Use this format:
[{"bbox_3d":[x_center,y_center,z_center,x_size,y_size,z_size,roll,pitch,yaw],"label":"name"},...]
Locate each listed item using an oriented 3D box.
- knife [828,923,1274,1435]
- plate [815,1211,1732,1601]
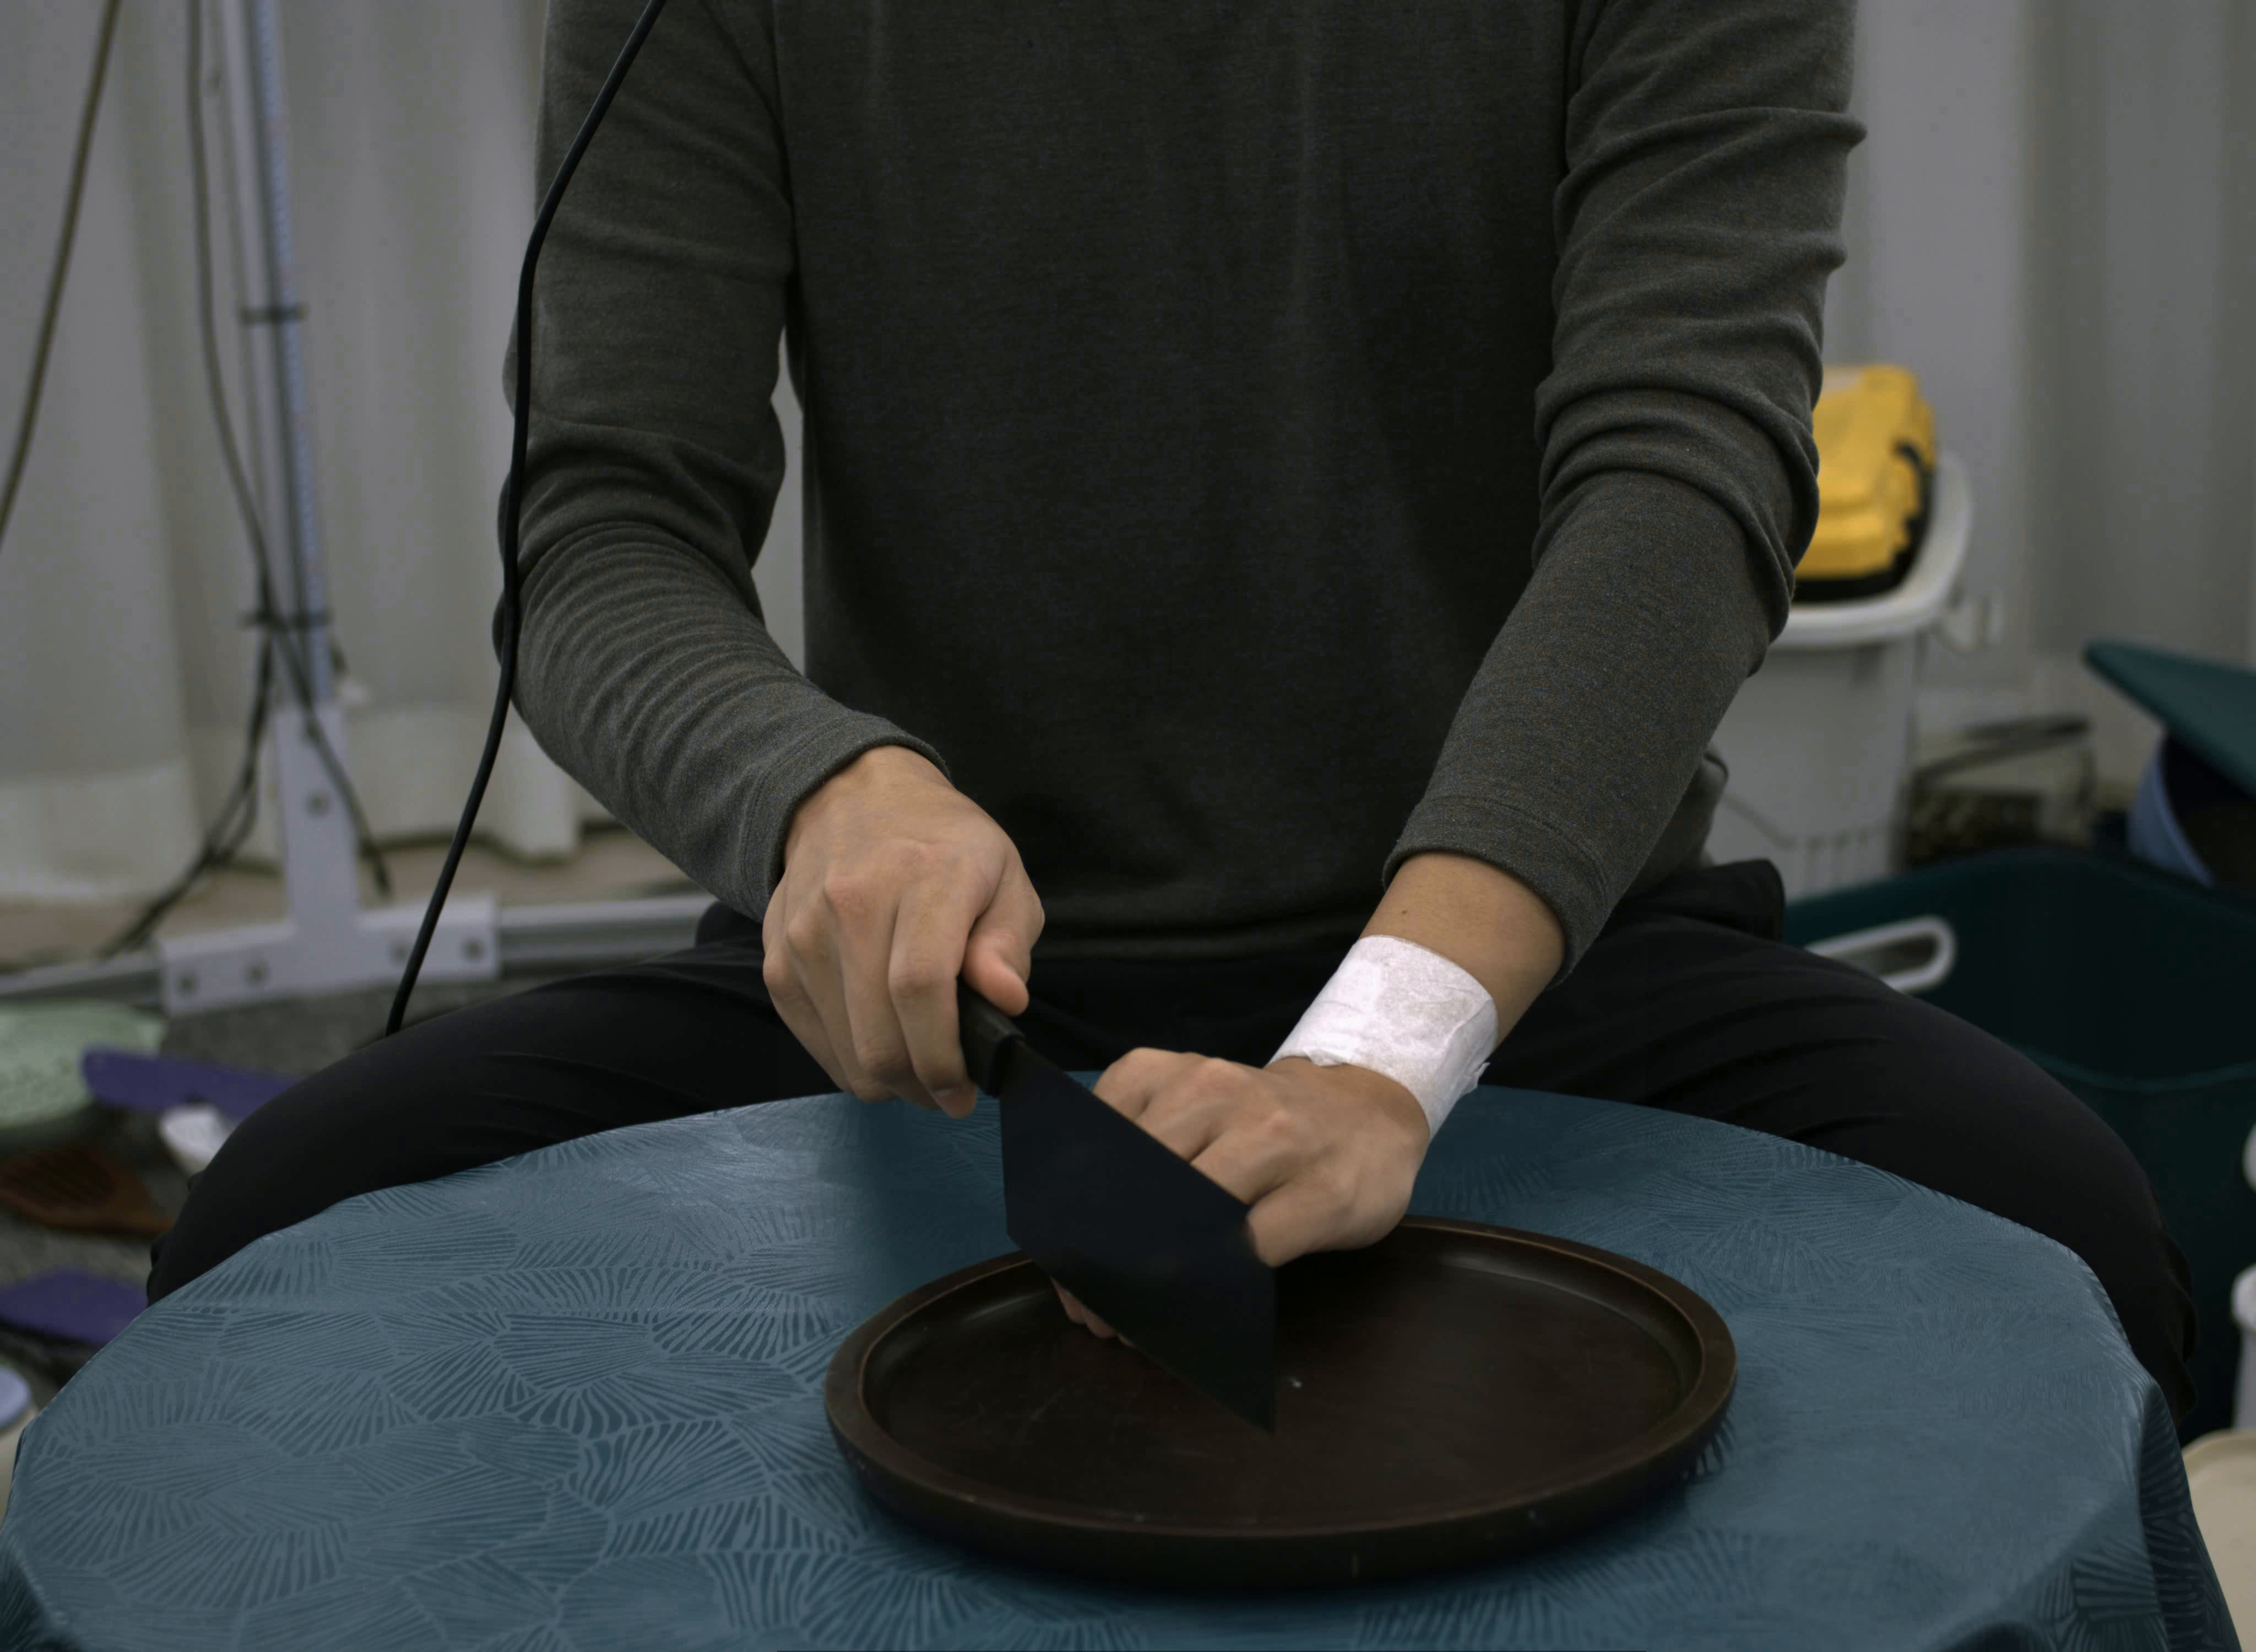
[{"bbox_3d":[-0.023,0.091,1.546,0.021,0.080,0.305,-7,22,-23],"label":"knife"},{"bbox_3d":[0.040,0.157,1.507,0.254,0.029,0.256,-4,15,1],"label":"plate"}]
